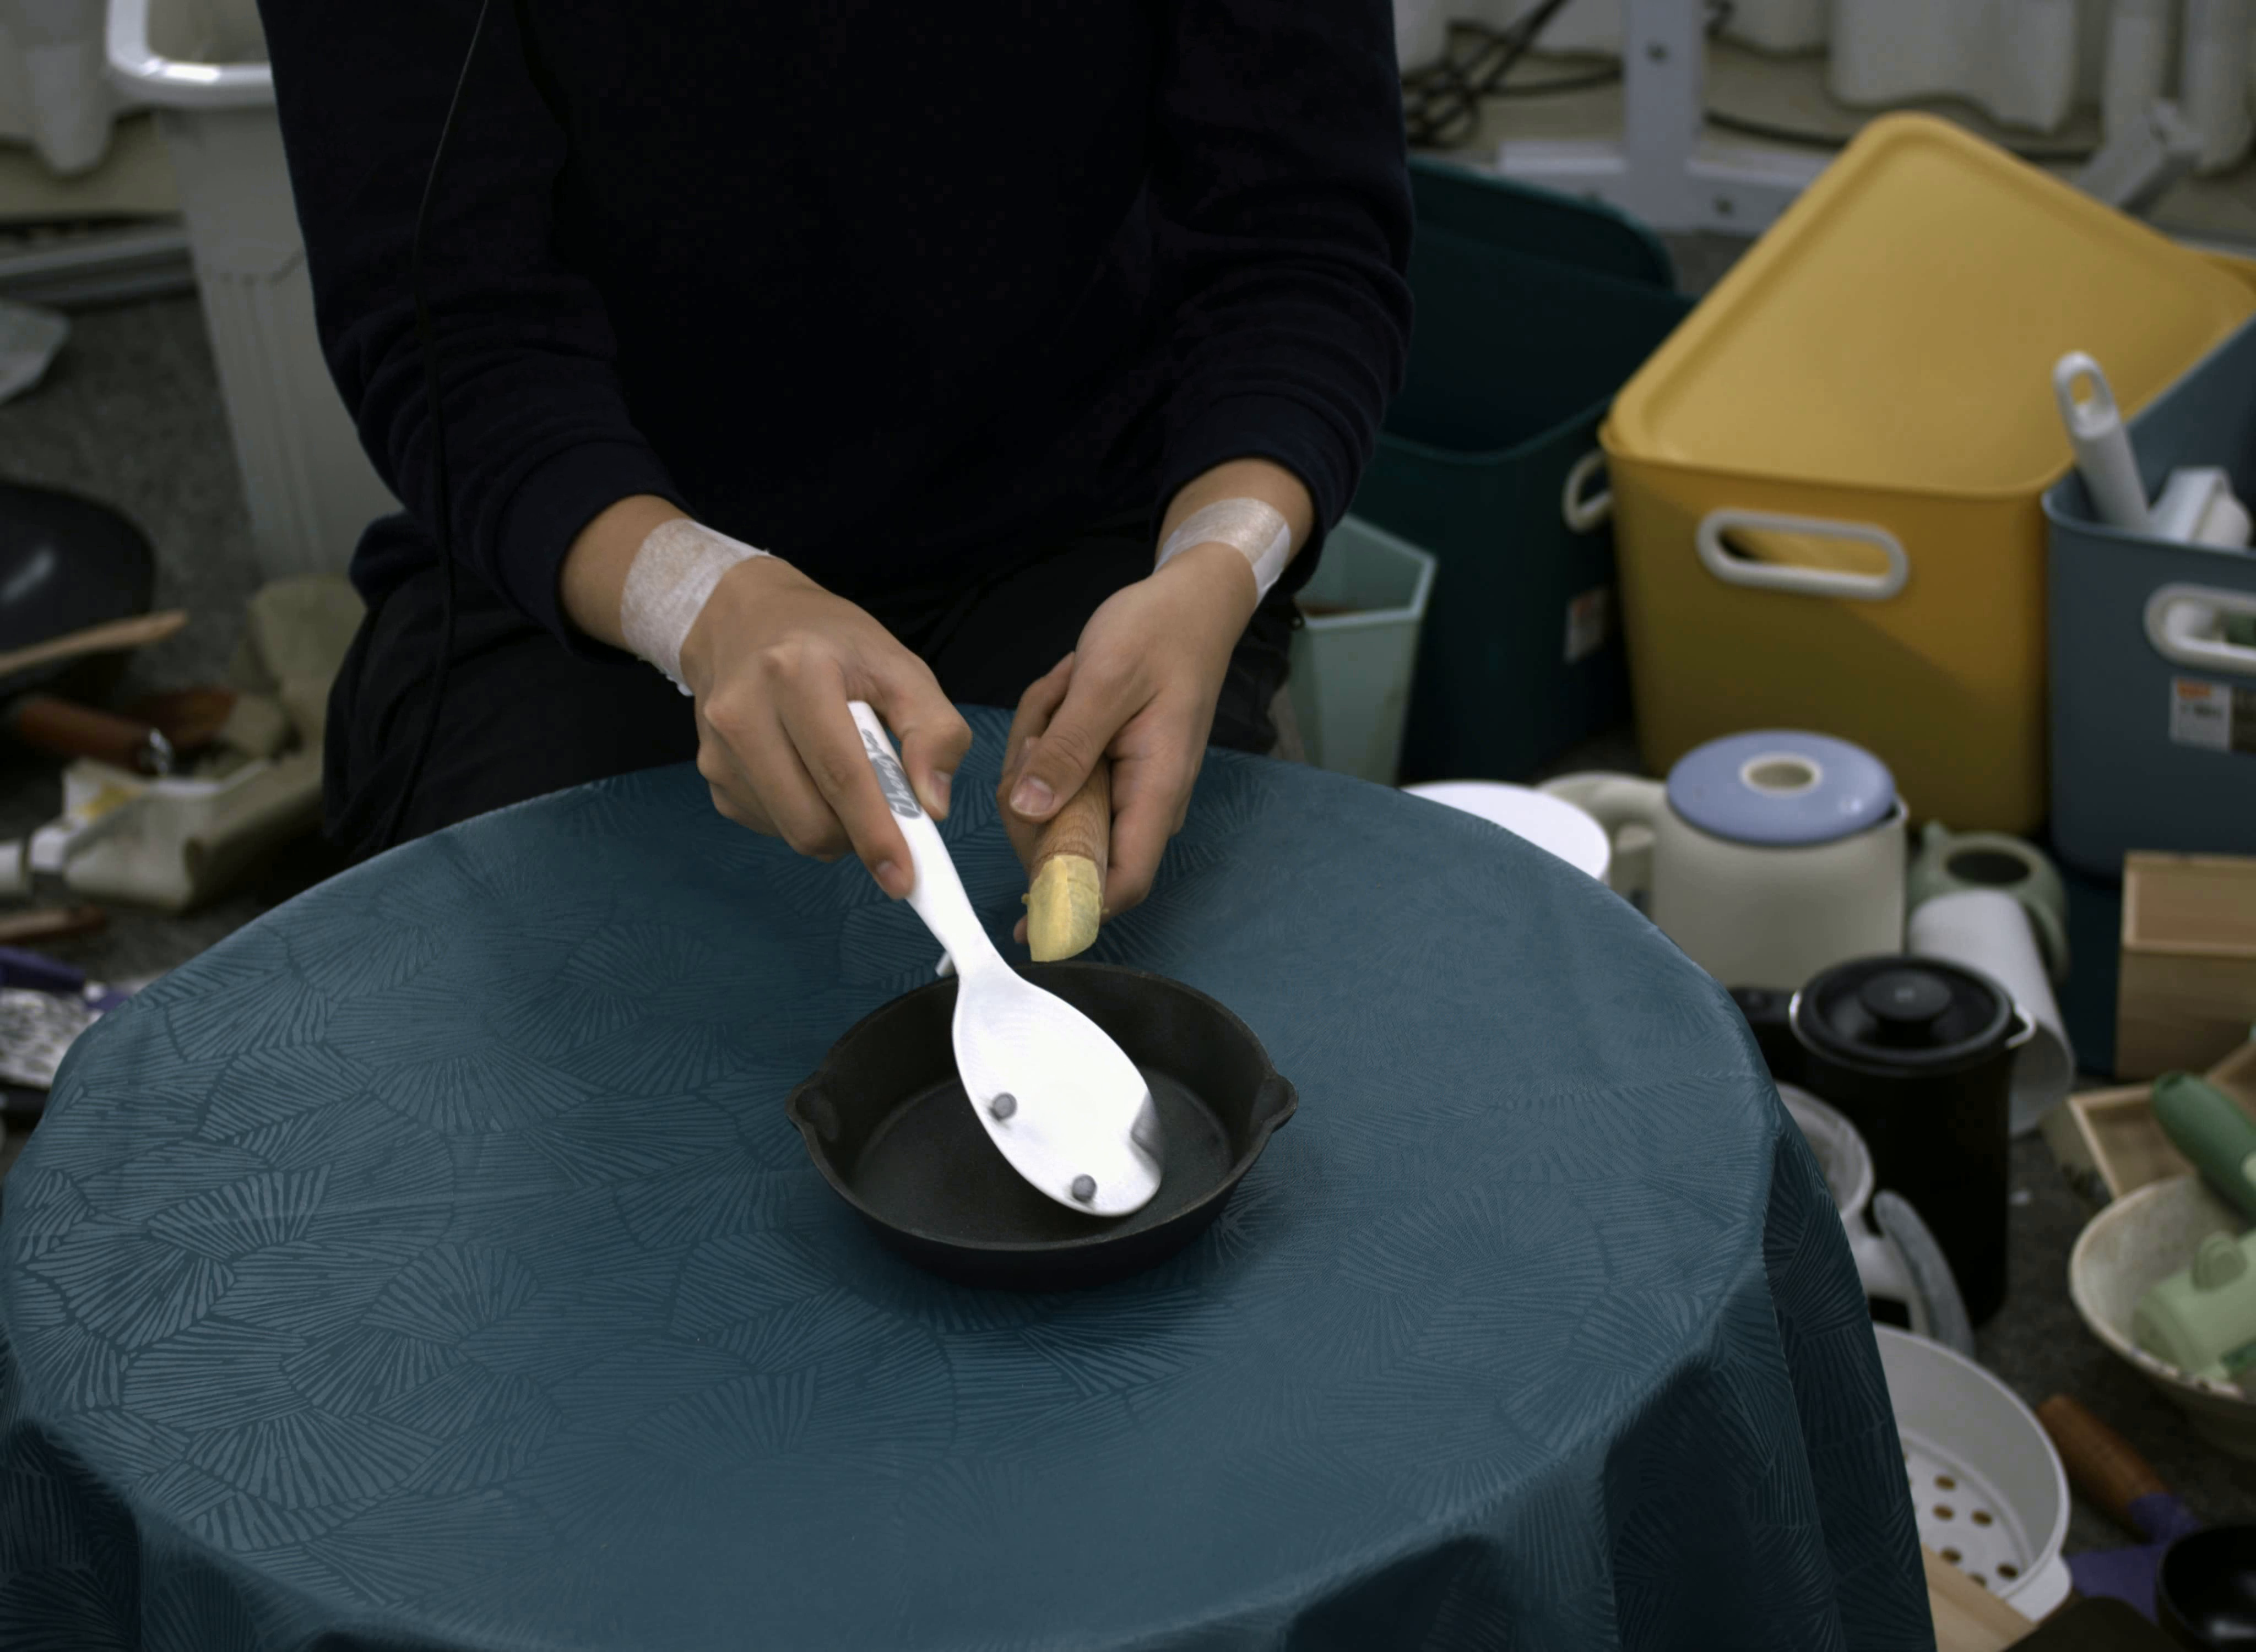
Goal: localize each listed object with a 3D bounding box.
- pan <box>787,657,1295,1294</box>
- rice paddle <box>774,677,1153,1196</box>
[{"bbox_3d":[-0.021,0.049,1.920,0.168,0.049,0.330,1,35,6],"label":"pan"},{"bbox_3d":[-0.055,0.038,1.883,0.069,0.029,0.207,-15,62,-39],"label":"rice paddle"}]
